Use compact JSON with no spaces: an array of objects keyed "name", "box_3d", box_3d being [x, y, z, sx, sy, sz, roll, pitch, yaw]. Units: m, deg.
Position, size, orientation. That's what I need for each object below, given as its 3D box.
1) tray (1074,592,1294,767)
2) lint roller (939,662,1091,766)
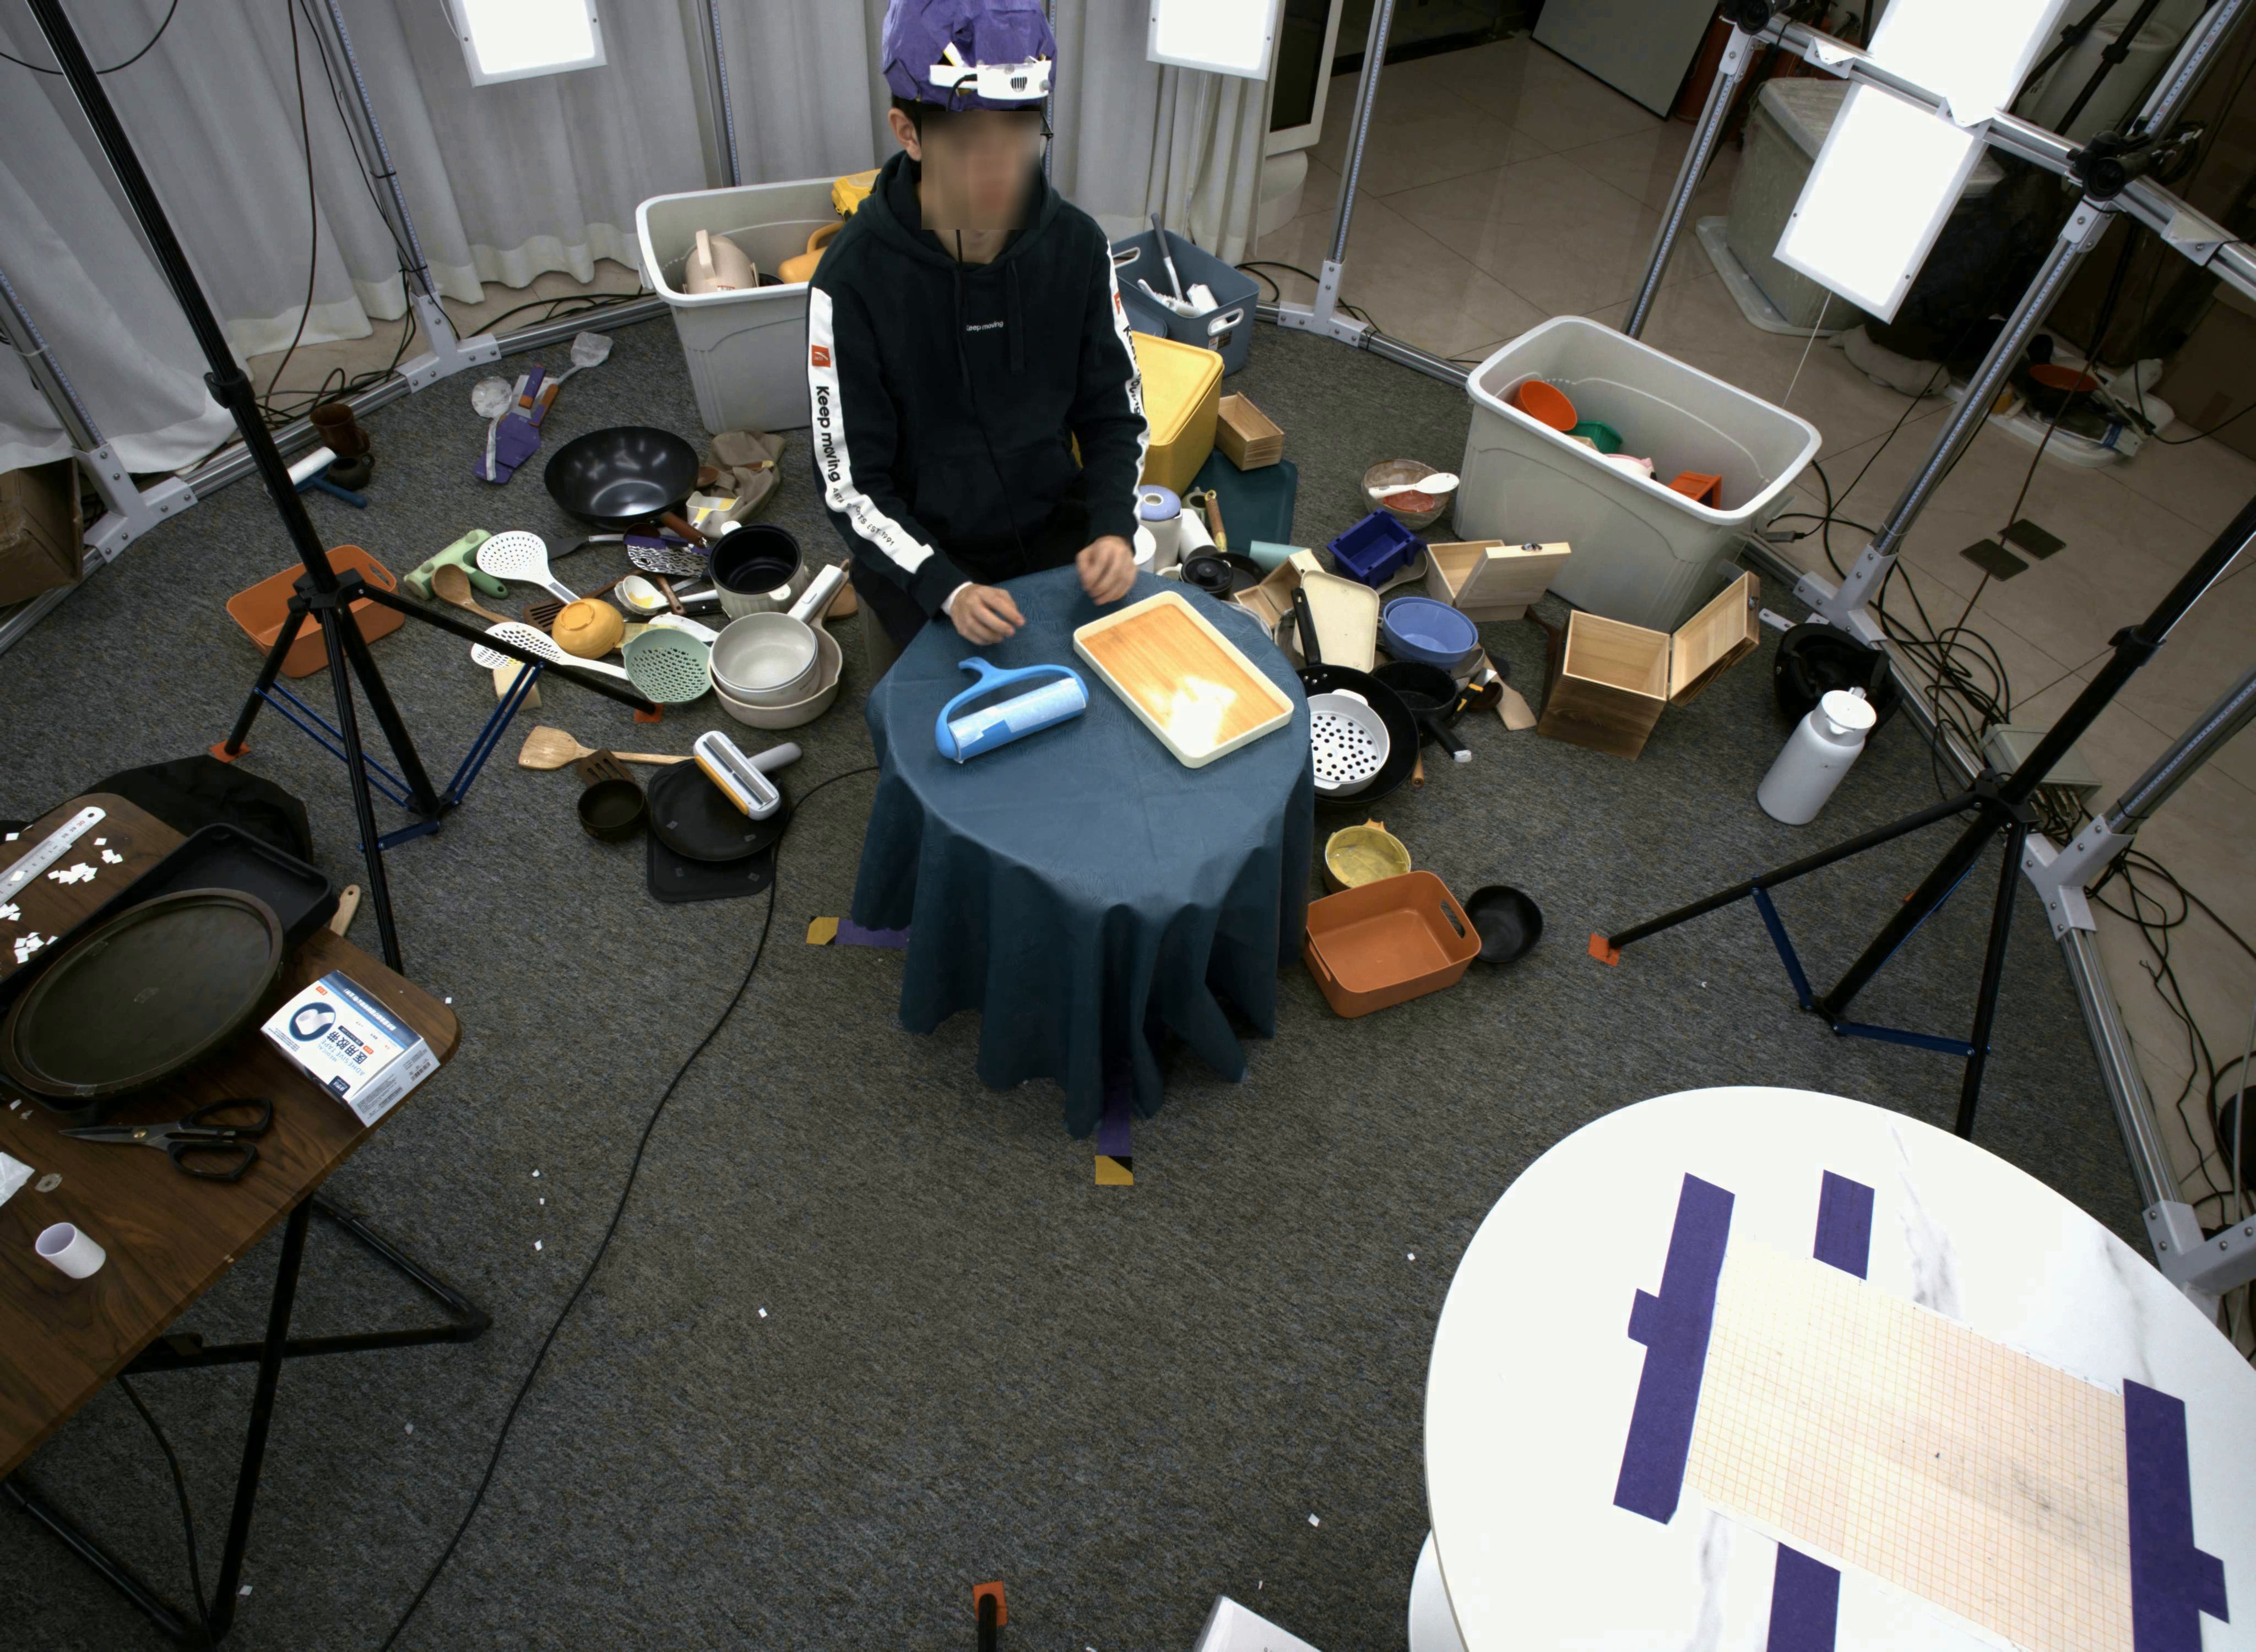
[{"name":"tray","box_3d":[0.077,-0.216,1.843,0.192,0.027,0.306,-26,55,-24]},{"name":"lint roller","box_3d":[-0.185,-0.183,1.779,0.230,0.066,0.183,-28,57,-23]}]
